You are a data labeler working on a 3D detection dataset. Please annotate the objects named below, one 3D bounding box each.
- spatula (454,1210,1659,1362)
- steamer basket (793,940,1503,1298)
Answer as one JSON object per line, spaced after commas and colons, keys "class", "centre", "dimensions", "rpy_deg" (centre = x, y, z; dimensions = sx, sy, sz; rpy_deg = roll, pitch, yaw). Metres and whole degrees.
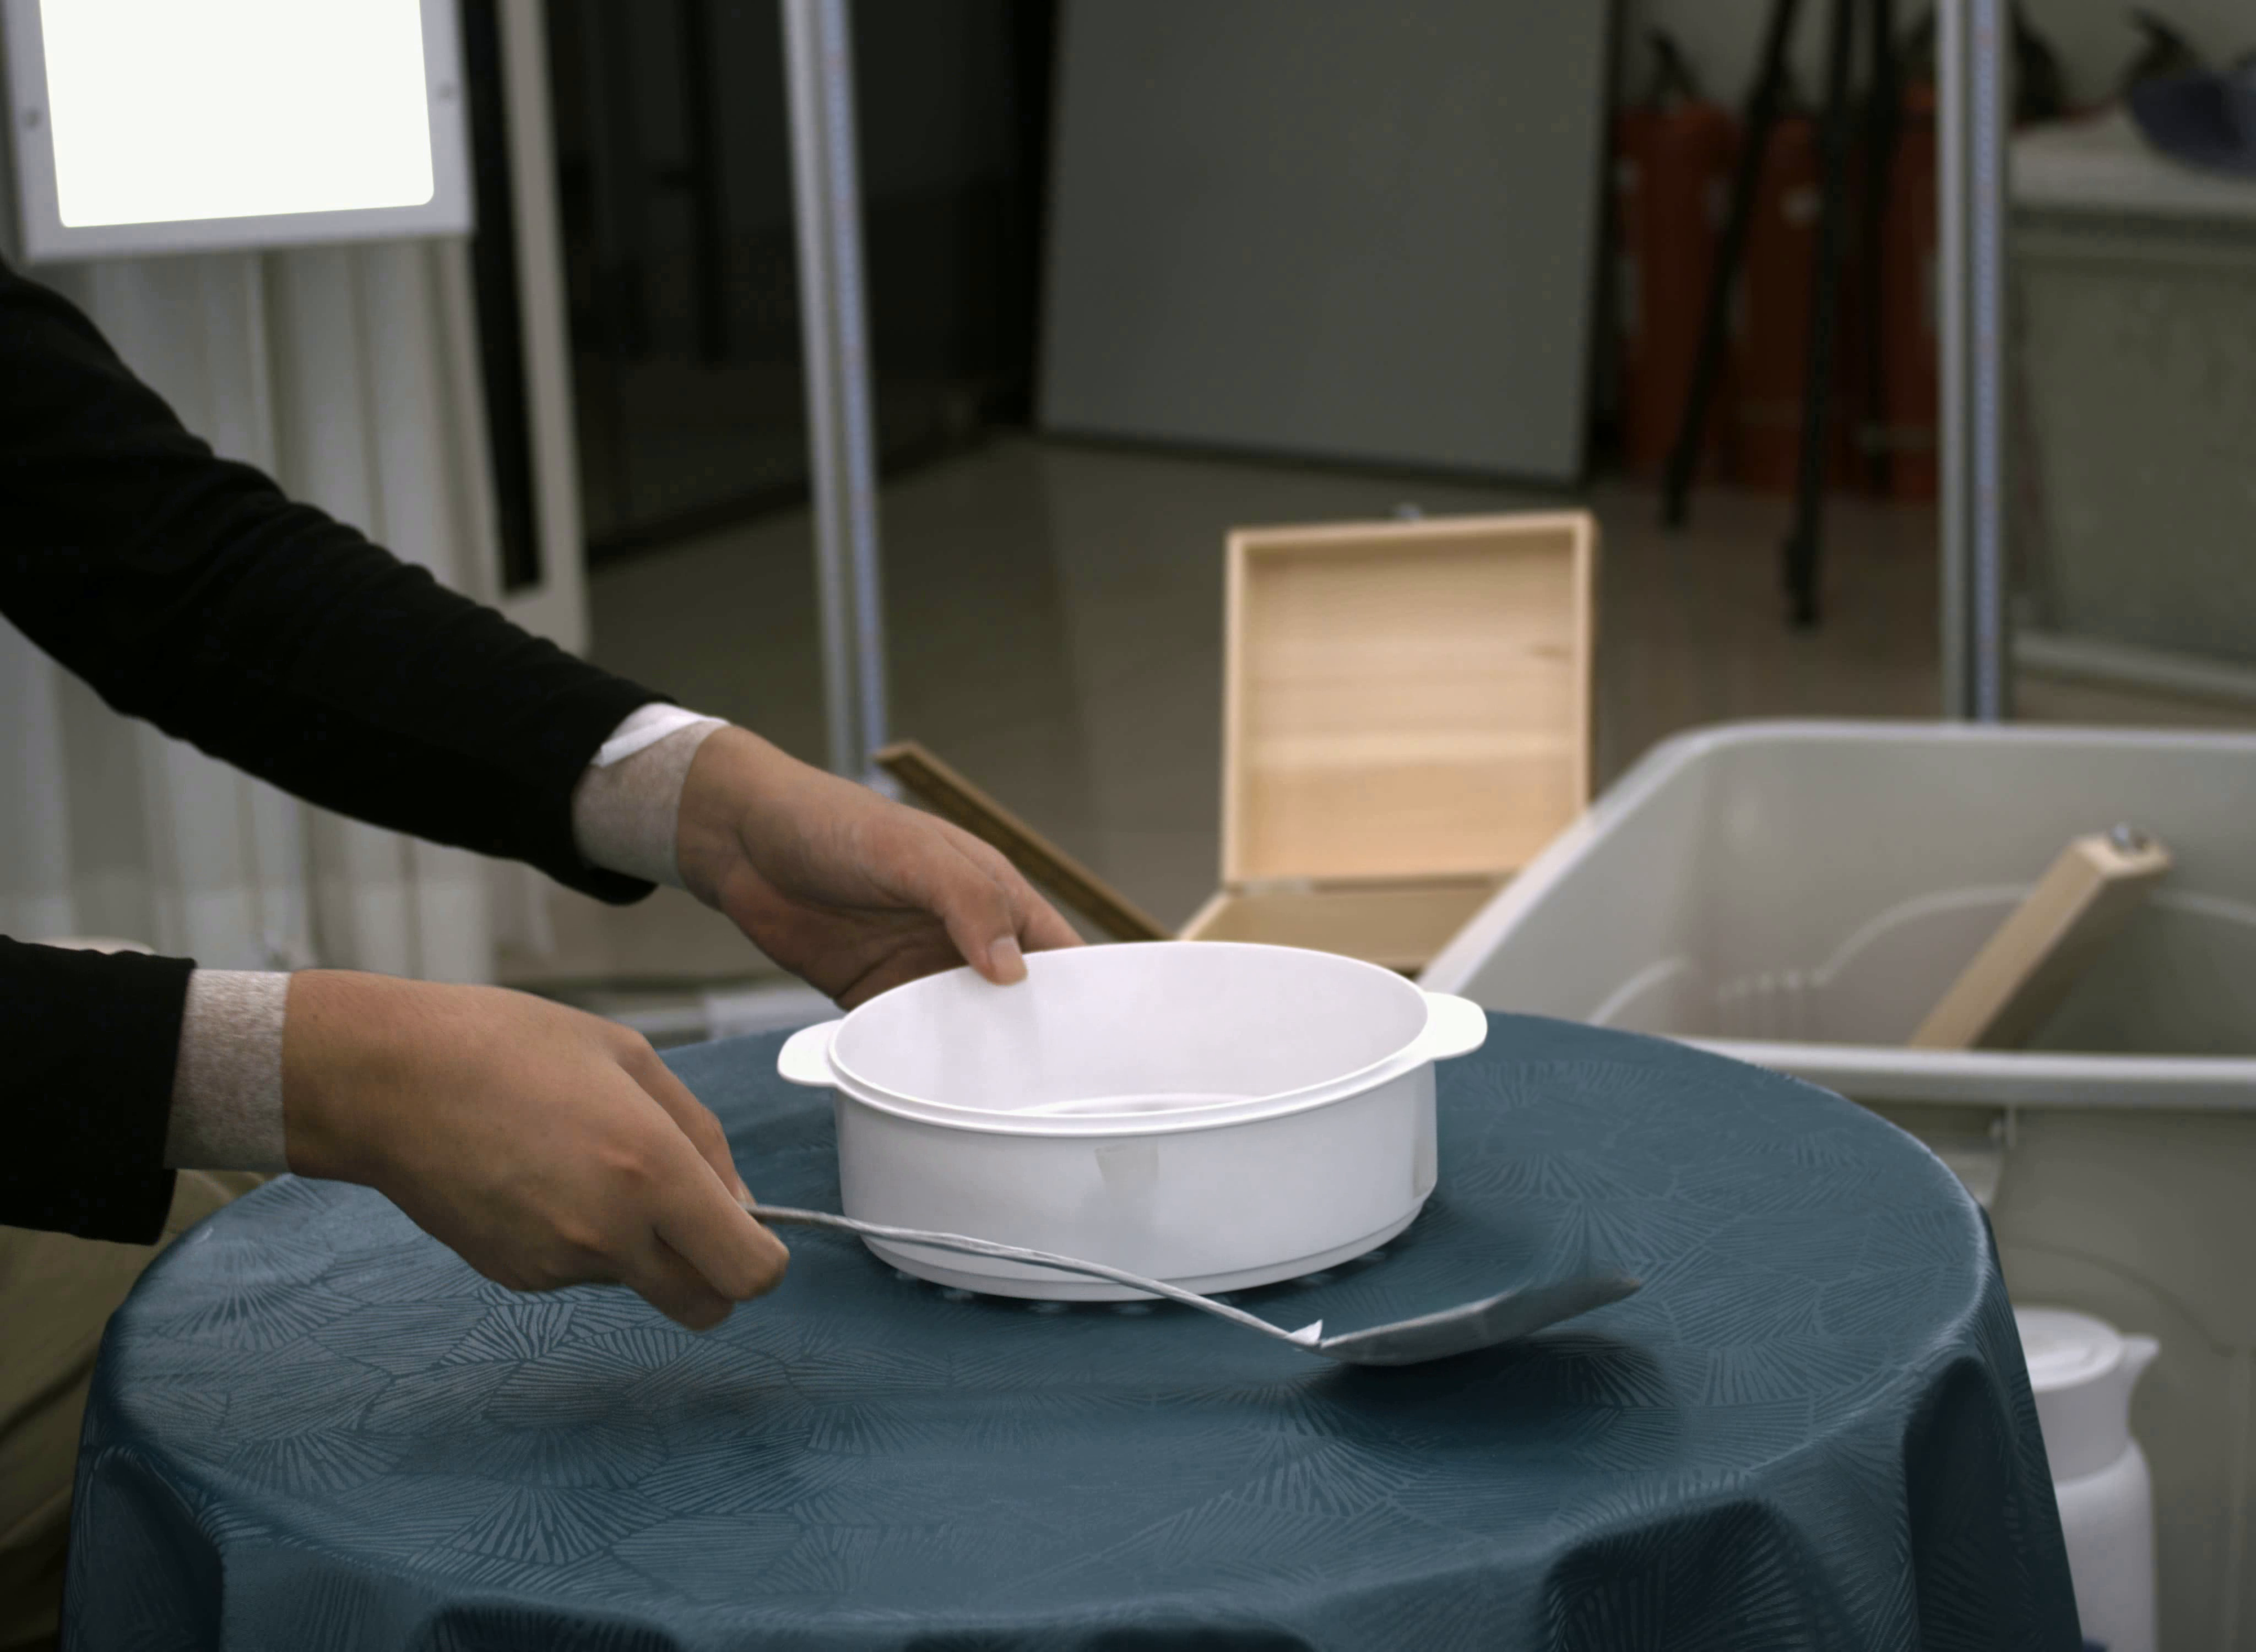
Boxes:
{"class": "spatula", "centre": [-0.026, 0.125, 1.590], "dimensions": [0.362, 0.045, 0.098], "rpy_deg": [7, -6, 11]}
{"class": "steamer basket", "centre": [0.008, 0.094, 1.731], "dimensions": [0.228, 0.070, 0.201], "rpy_deg": [-4, 13, 5]}
